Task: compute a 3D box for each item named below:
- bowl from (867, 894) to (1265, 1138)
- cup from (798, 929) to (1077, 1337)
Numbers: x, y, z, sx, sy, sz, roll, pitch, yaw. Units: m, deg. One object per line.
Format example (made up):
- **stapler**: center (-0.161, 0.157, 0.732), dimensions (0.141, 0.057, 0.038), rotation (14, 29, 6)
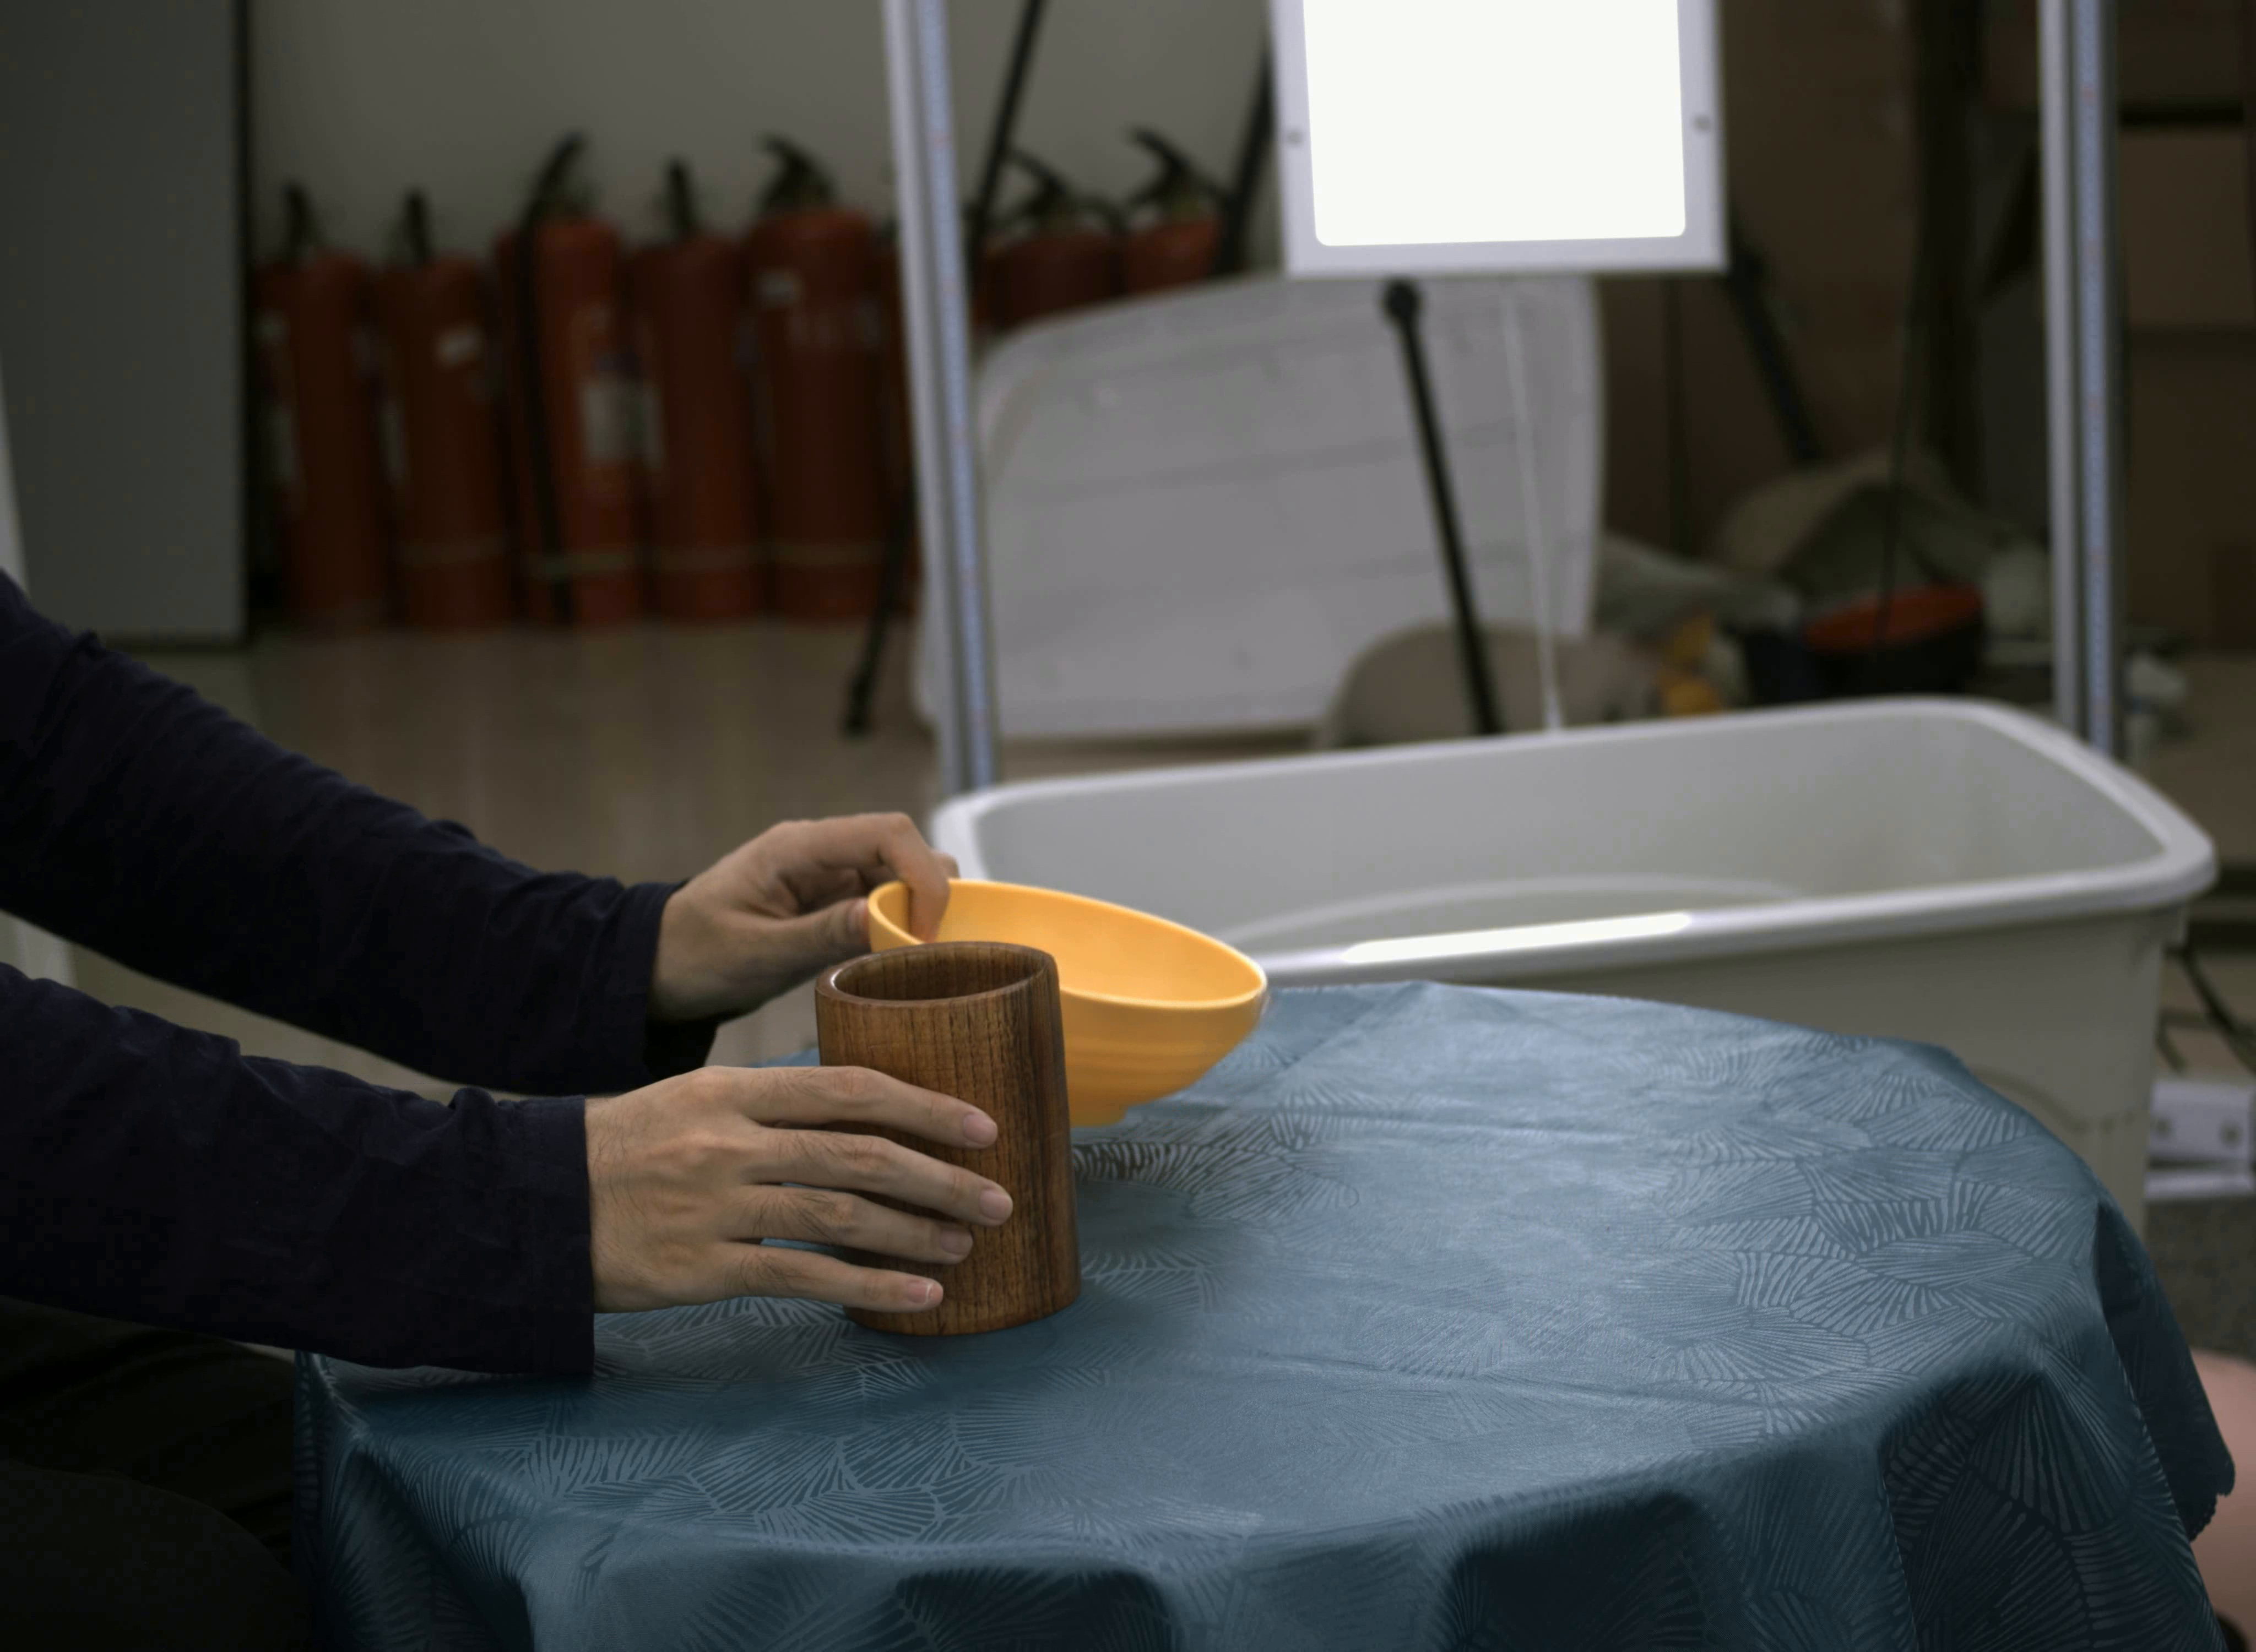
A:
- **bowl**: center (-0.027, 0.071, 1.932), dimensions (0.144, 0.060, 0.145), rotation (10, 12, -4)
- **cup**: center (-0.060, 0.099, 1.787), dimensions (0.087, 0.119, 0.087), rotation (-4, 10, -1)
